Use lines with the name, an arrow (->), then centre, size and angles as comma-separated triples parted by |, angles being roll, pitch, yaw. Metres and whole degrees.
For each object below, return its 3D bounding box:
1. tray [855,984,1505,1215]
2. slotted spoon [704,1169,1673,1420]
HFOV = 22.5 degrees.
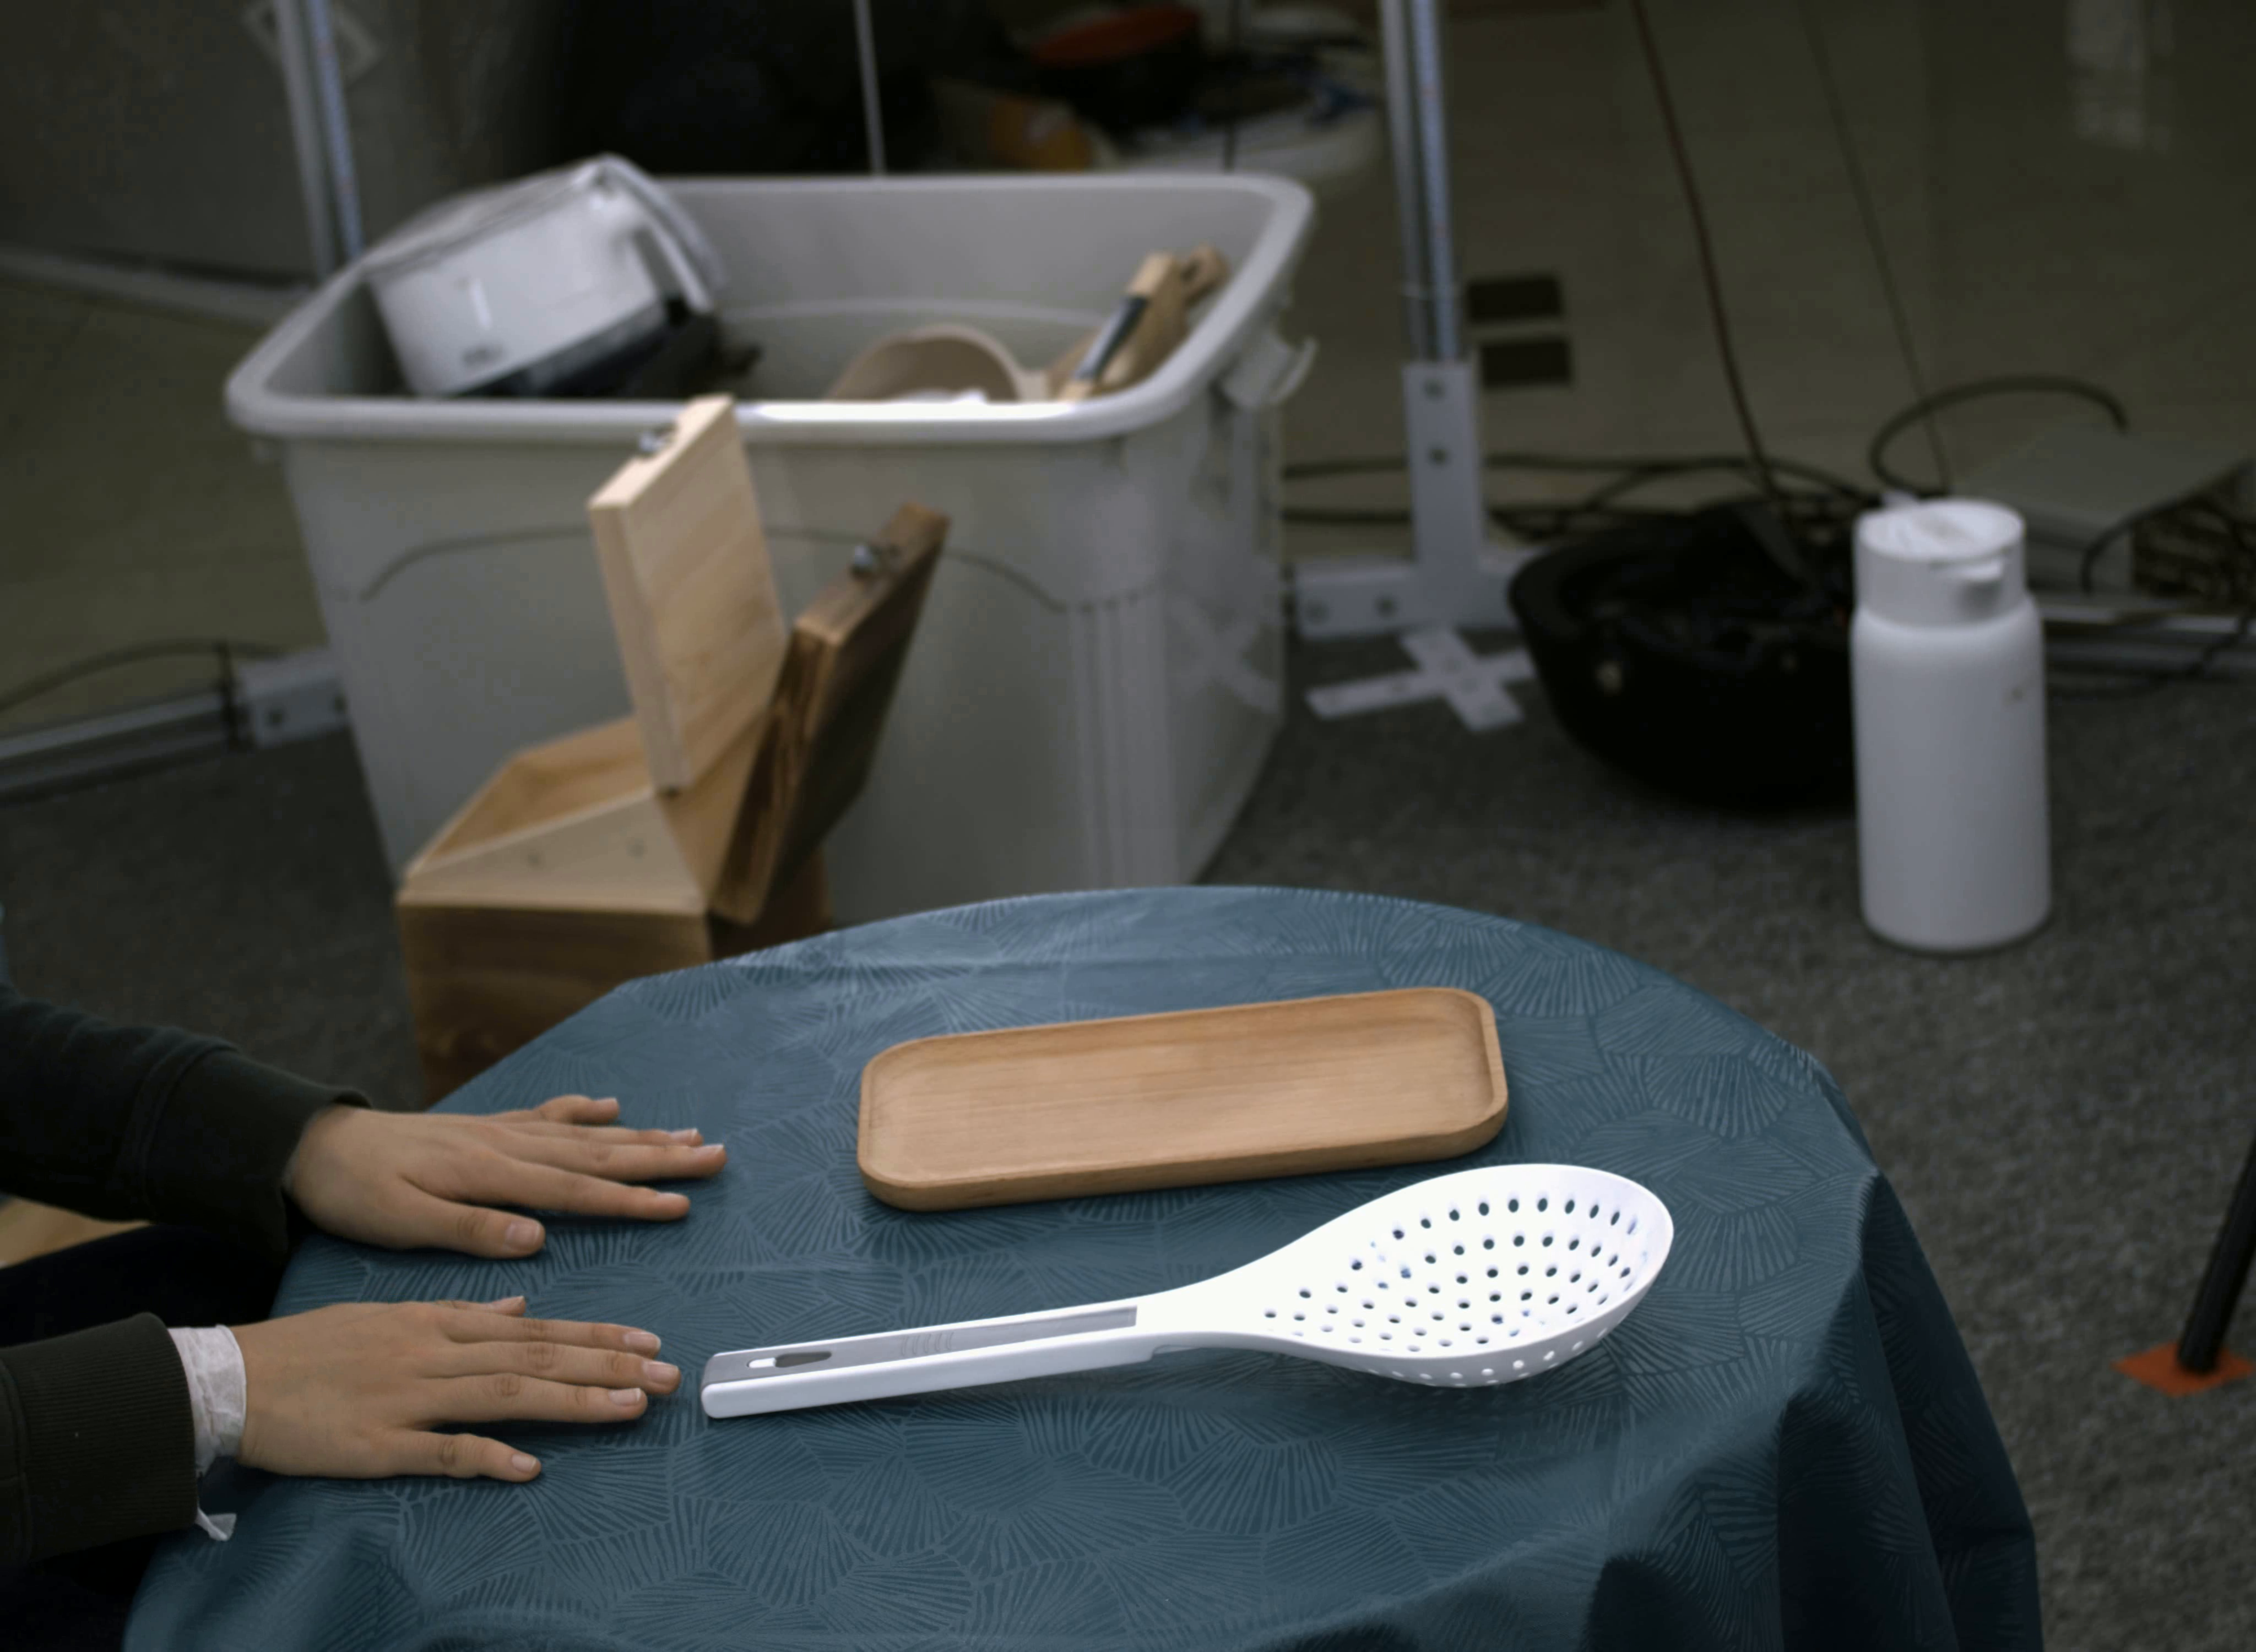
tray -> 0.019, 0.106, 2.199 | 0.250, 0.023, 0.129 | -6, 23, 2
slotted spoon -> 0.020, 0.176, 2.014 | 0.349, 0.046, 0.134 | -5, 23, 6
